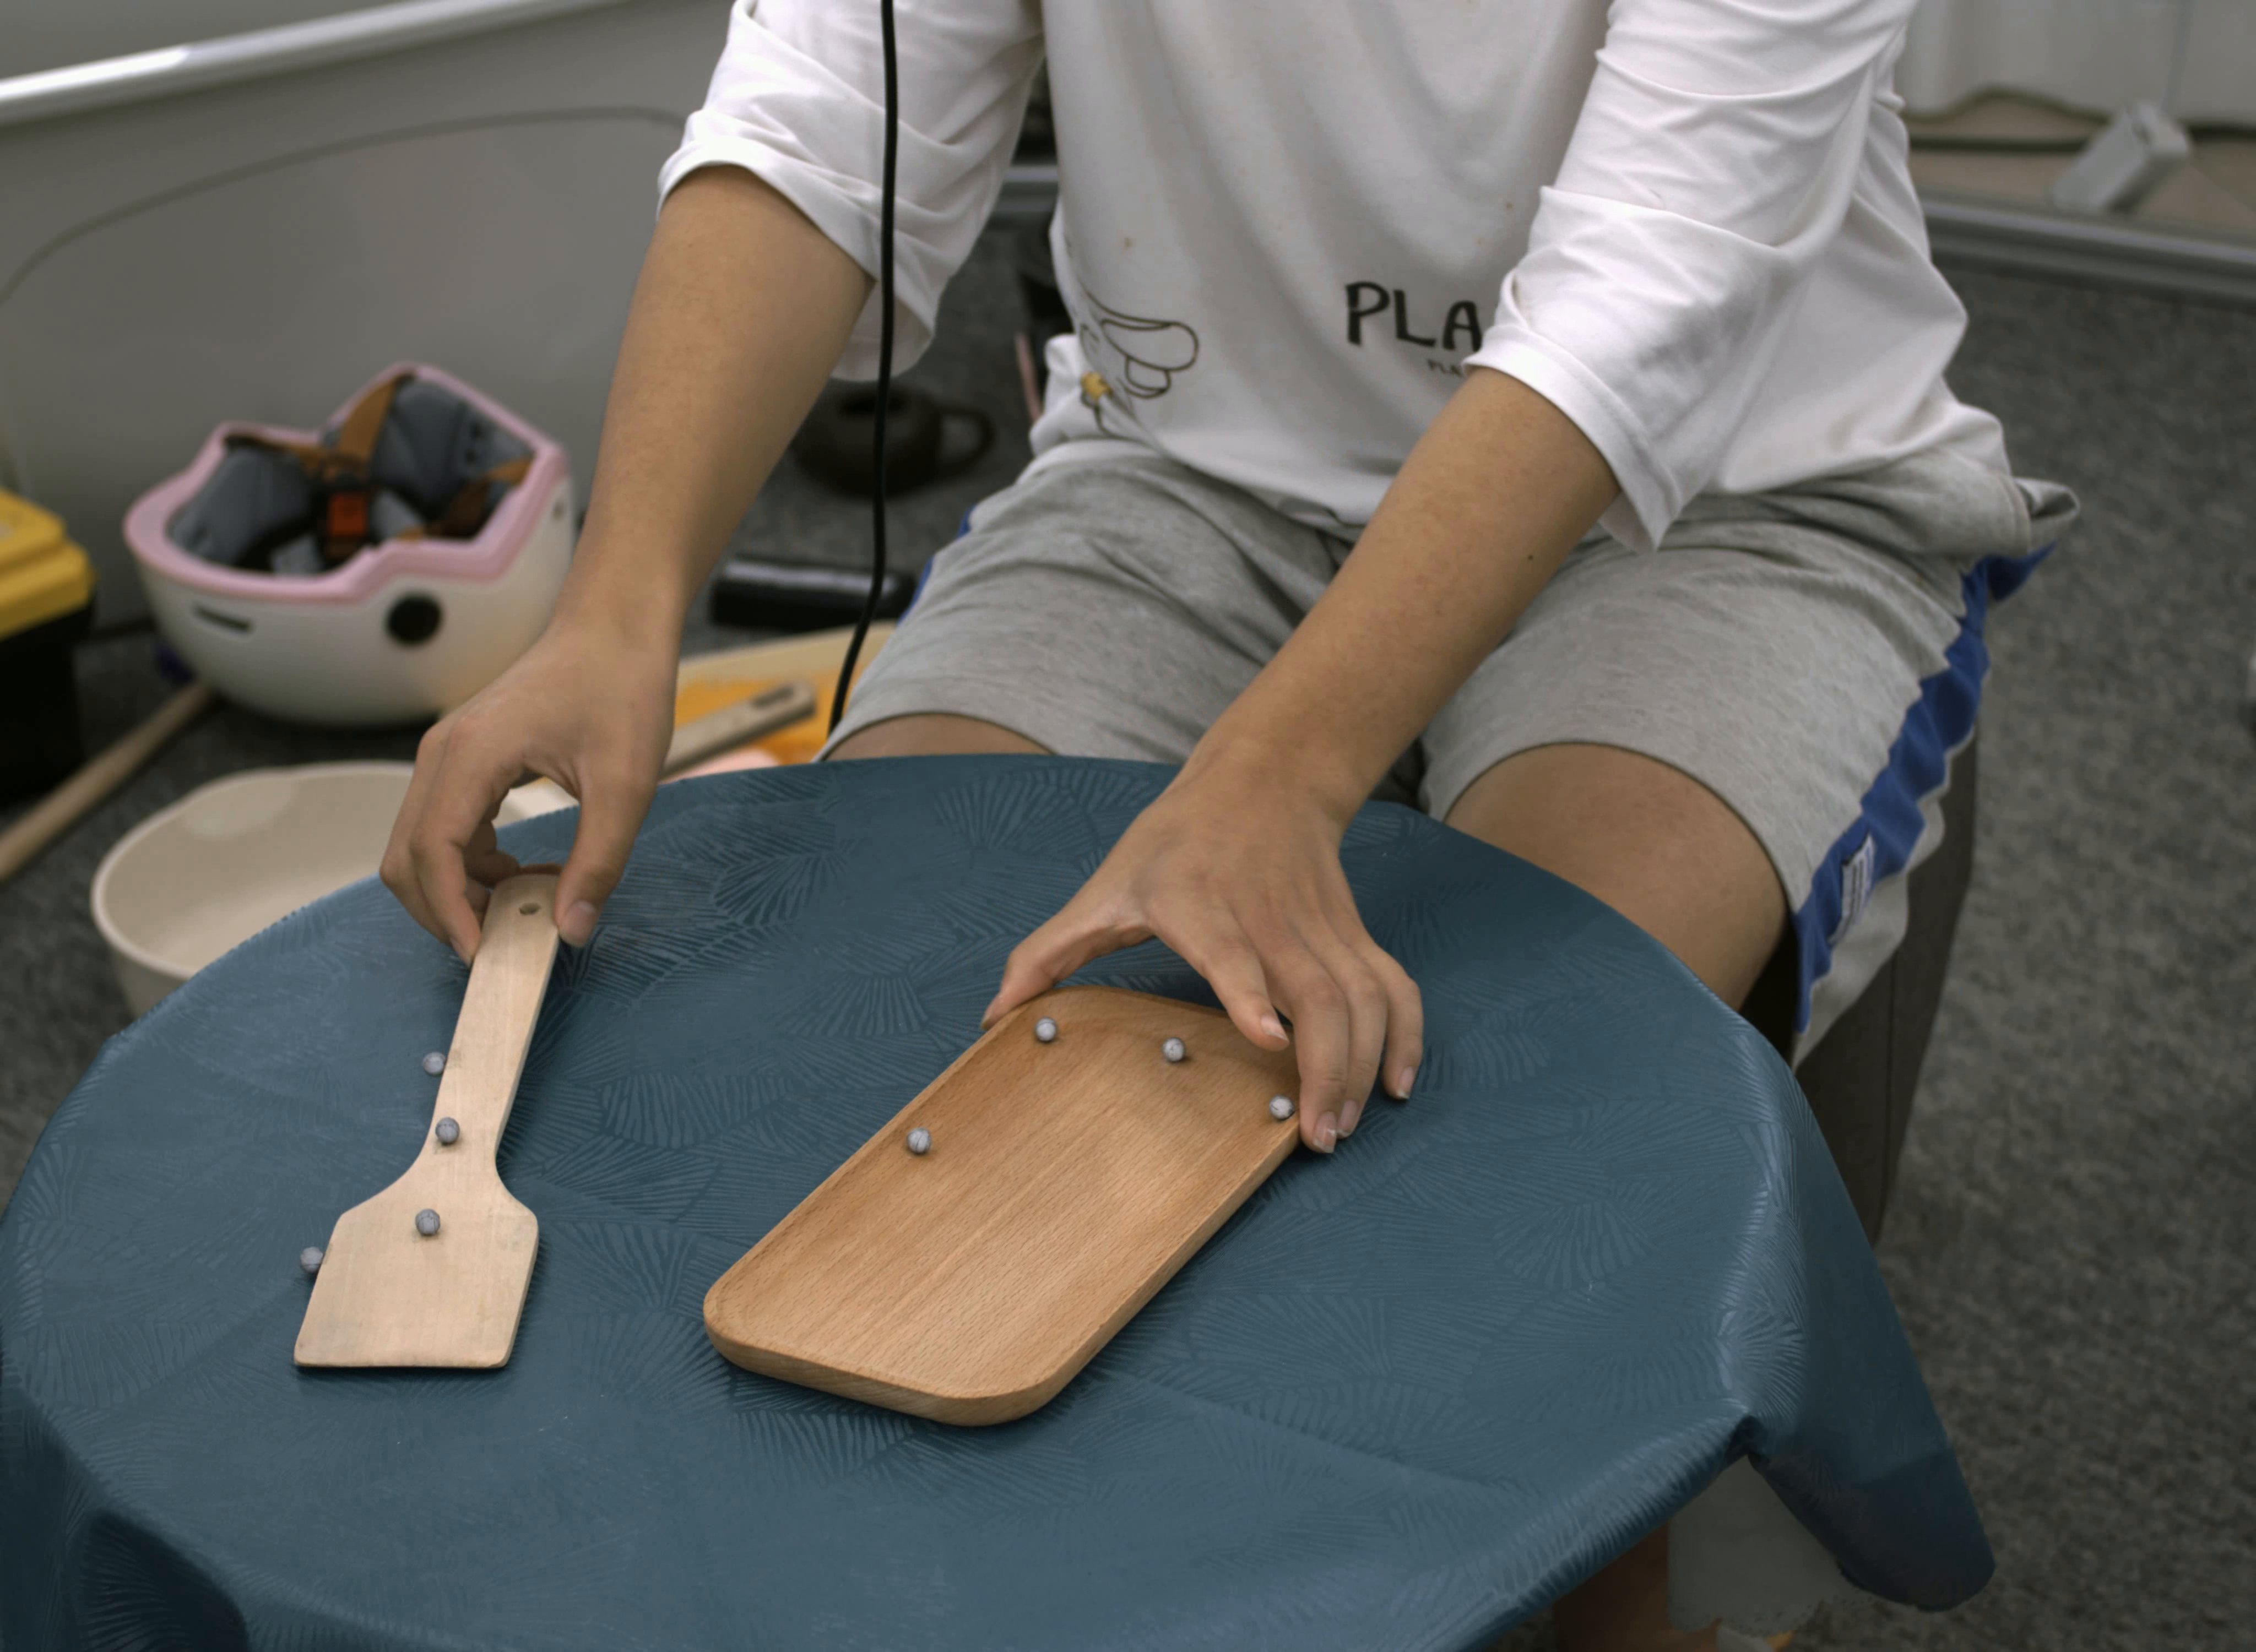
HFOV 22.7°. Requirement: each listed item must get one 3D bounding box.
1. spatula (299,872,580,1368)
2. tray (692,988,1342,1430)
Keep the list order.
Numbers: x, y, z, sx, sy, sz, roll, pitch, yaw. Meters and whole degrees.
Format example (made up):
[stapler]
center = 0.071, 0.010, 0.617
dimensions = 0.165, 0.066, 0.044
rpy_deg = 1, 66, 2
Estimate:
[spatula]
center = -0.222, 0.097, 1.908
dimensions = 0.072, 0.010, 0.298
rpy_deg = 0, 31, 4
[tray]
center = -0.033, 0.123, 1.847
dimensions = 0.129, 0.022, 0.255
rpy_deg = 10, 30, 28
